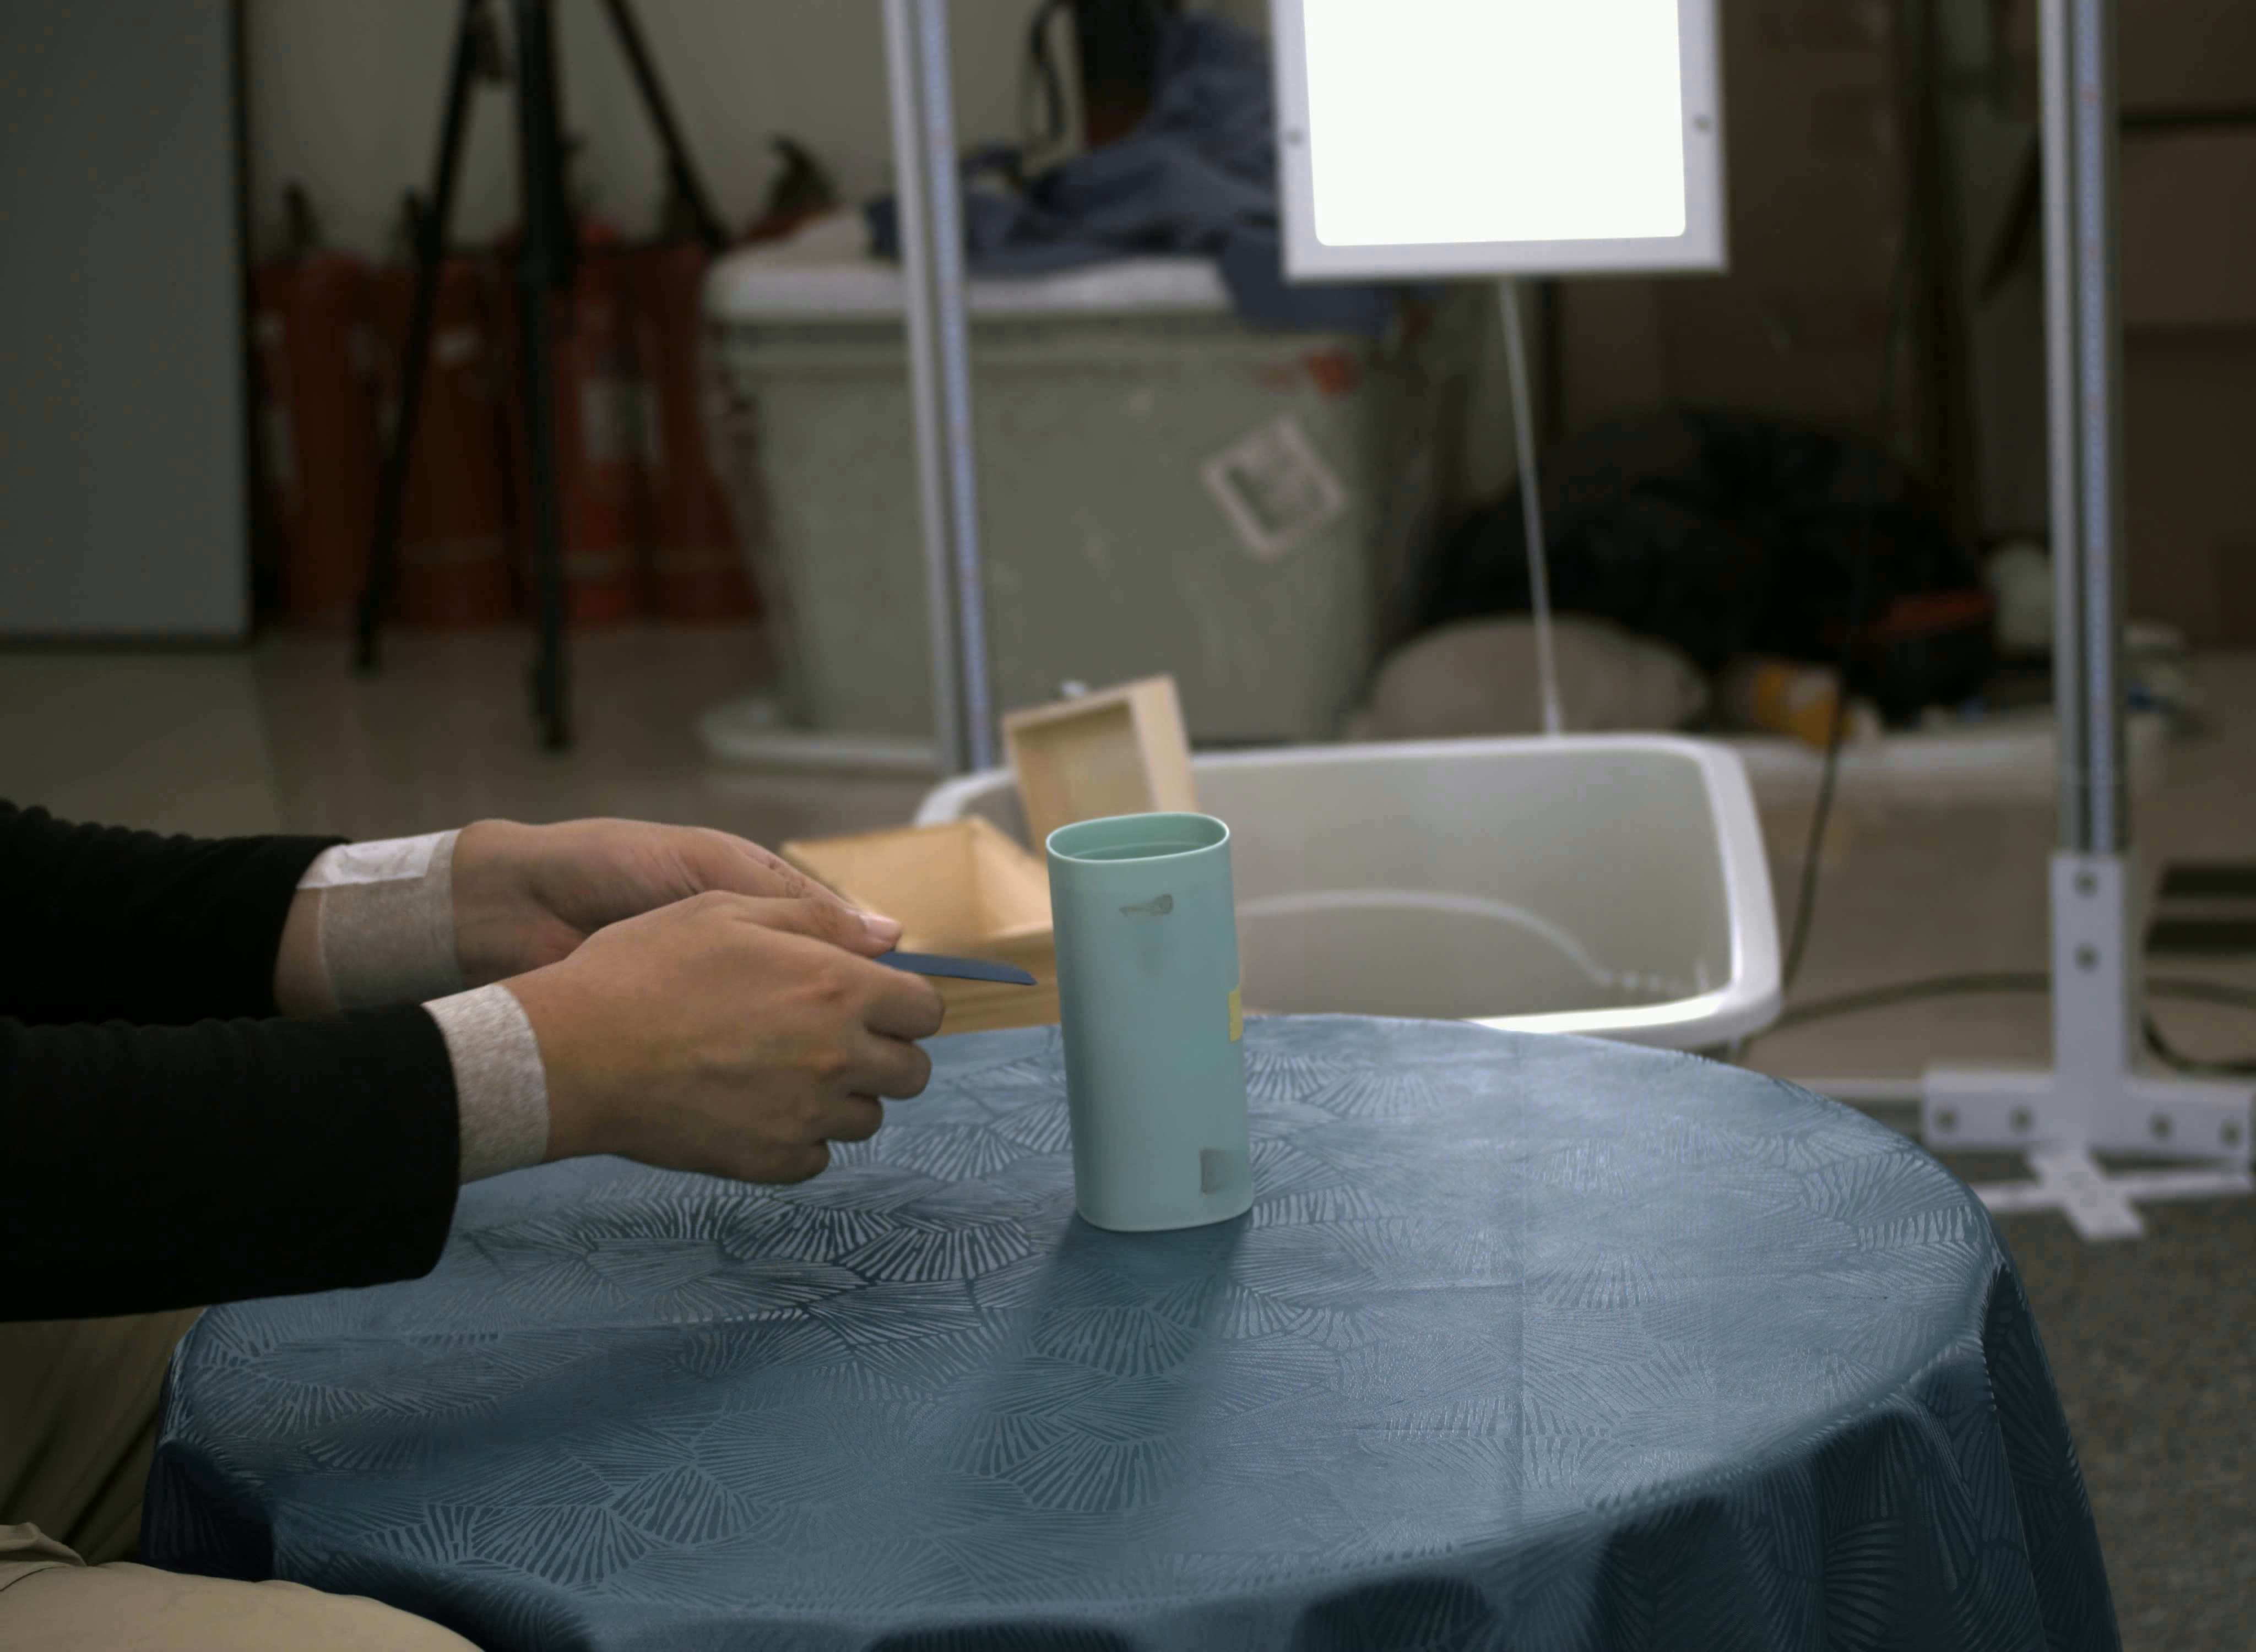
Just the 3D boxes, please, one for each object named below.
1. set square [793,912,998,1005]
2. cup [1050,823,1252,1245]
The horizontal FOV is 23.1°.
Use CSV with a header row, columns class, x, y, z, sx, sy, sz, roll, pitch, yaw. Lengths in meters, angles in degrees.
class,x,y,z,sx,sy,sz,roll,pitch,yaw
set square,-0.079,0.047,1.842,0.061,0.006,0.132,-11,13,-6
cup,0.007,0.070,1.867,0.066,0.133,0.066,-4,14,0
